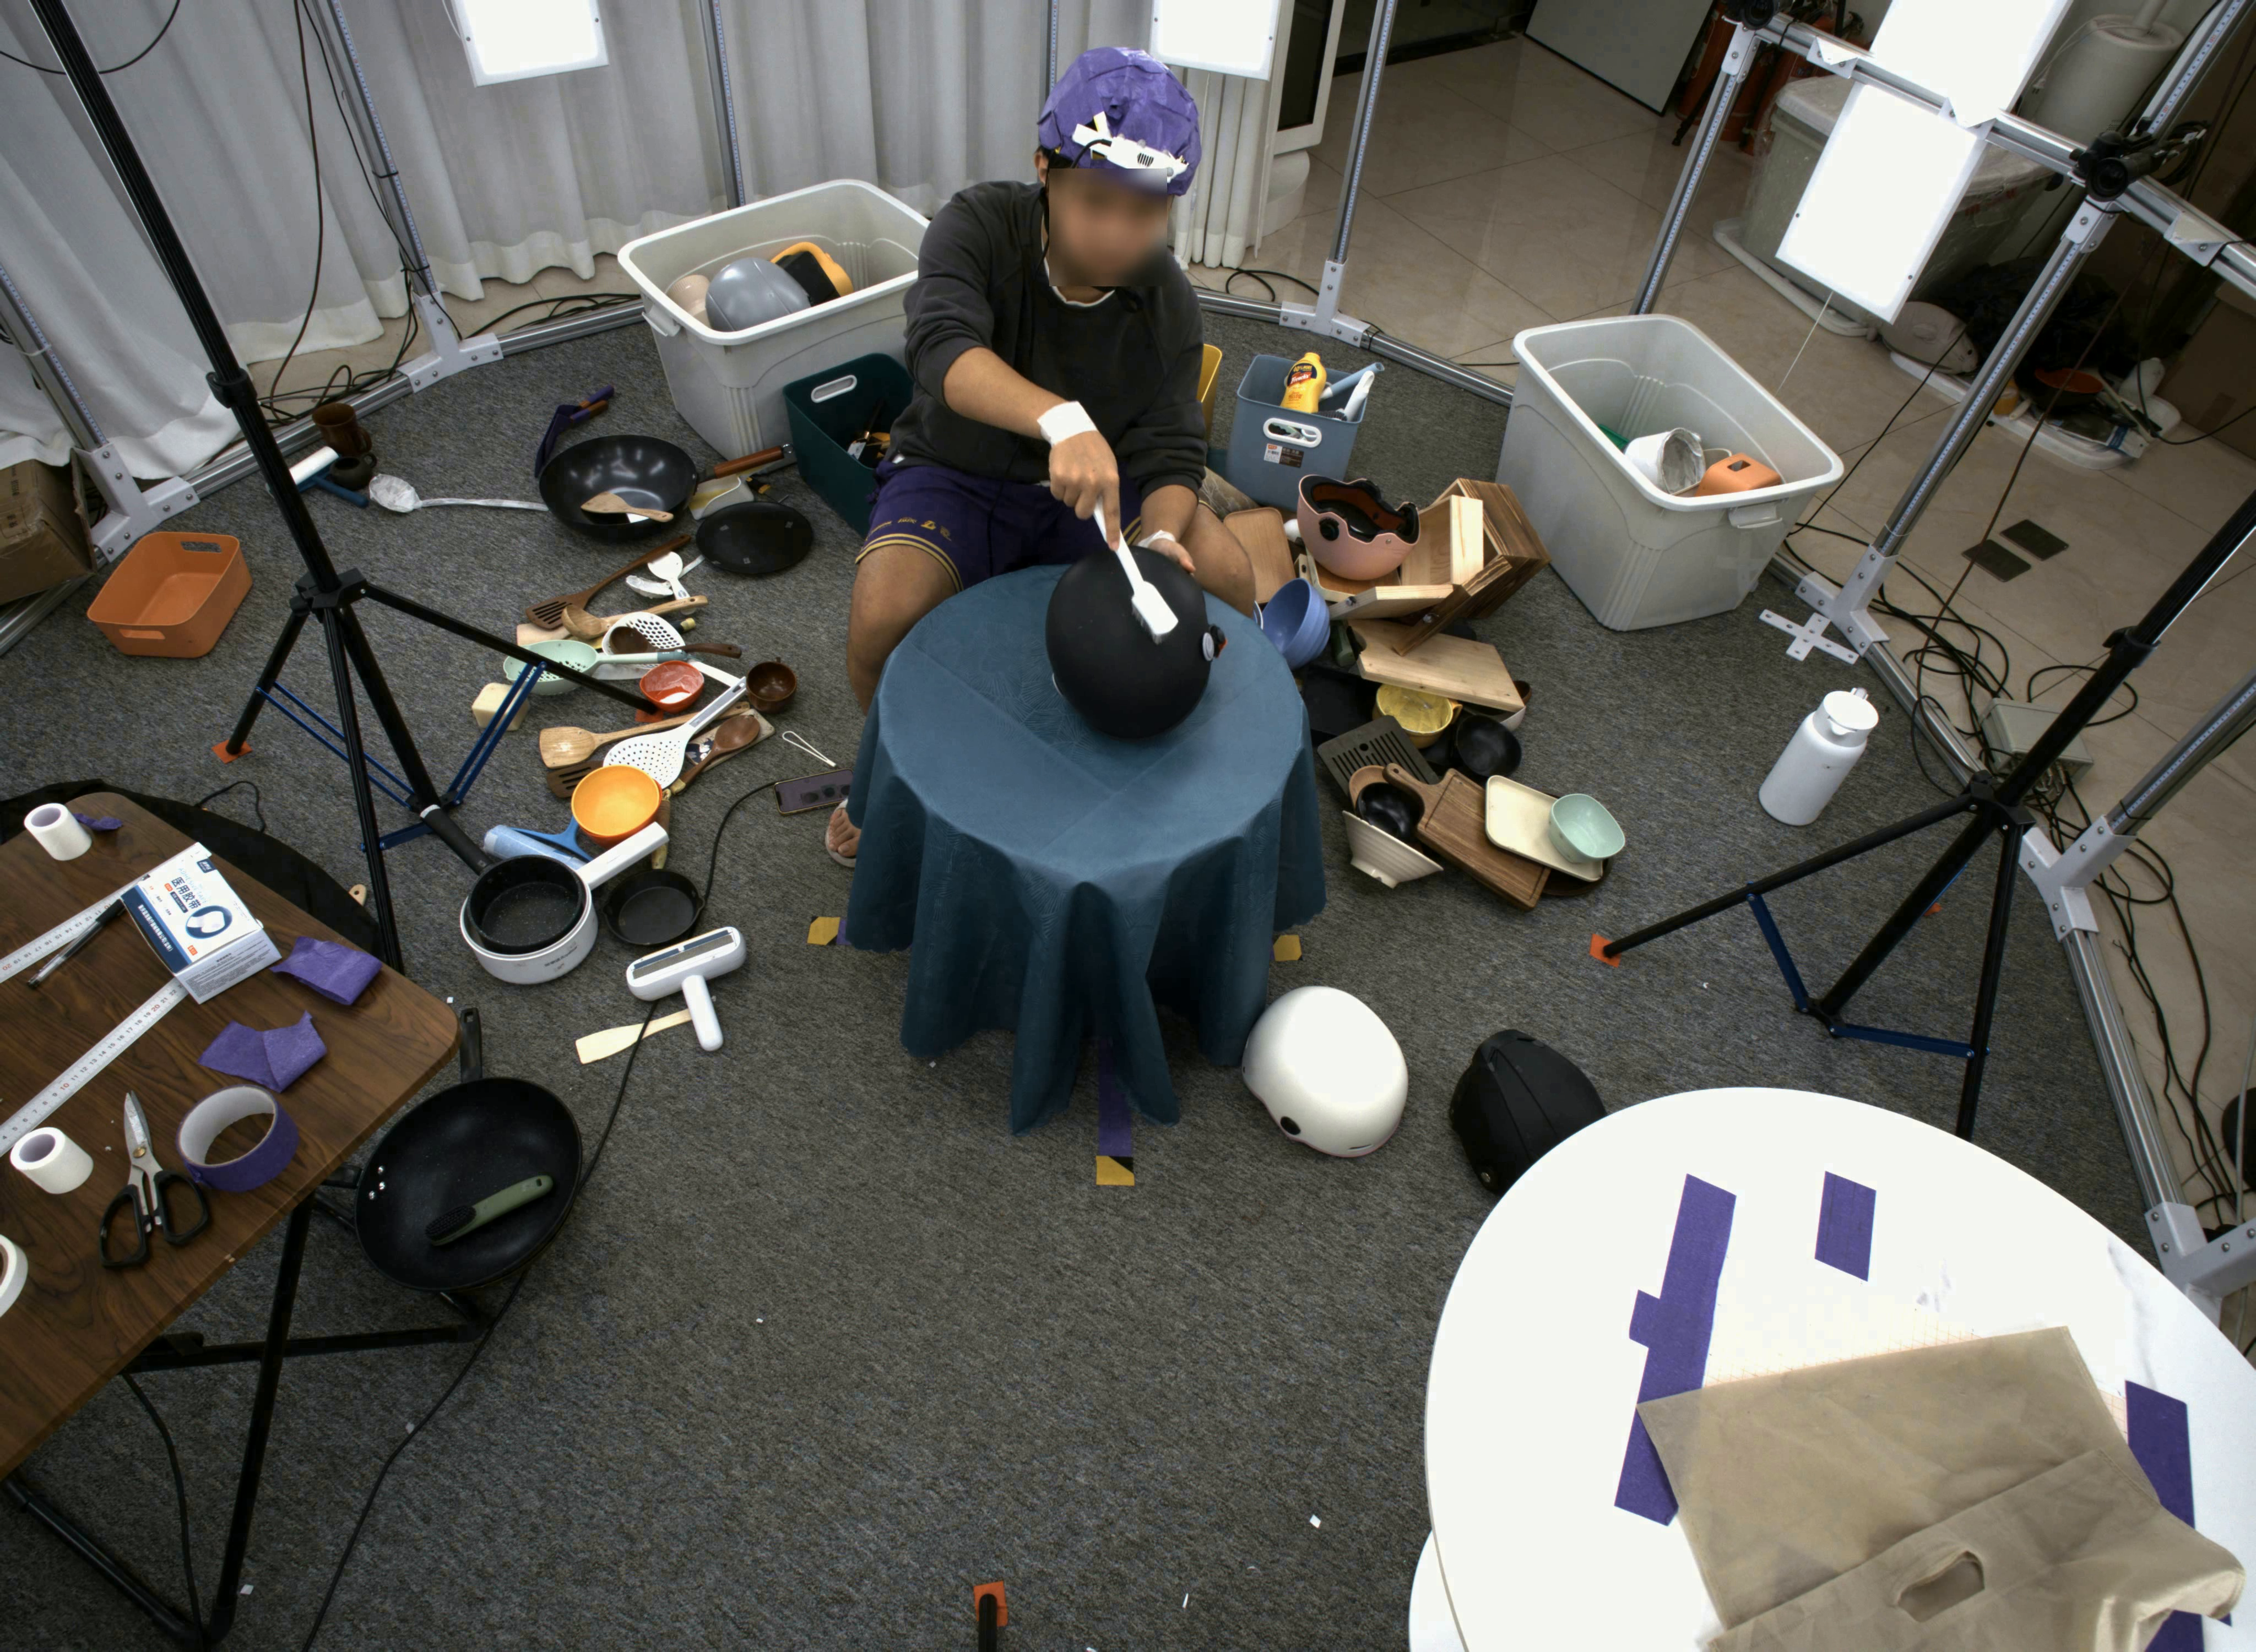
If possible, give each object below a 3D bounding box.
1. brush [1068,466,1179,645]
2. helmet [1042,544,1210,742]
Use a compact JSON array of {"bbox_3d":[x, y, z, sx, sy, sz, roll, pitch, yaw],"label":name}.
[{"bbox_3d":[-0.010,-0.338,1.619,0.034,0.050,0.242,-34,98,-15],"label":"brush"},{"bbox_3d":[-0.014,-0.264,1.733,0.230,0.164,0.278,-11,68,21],"label":"helmet"}]
